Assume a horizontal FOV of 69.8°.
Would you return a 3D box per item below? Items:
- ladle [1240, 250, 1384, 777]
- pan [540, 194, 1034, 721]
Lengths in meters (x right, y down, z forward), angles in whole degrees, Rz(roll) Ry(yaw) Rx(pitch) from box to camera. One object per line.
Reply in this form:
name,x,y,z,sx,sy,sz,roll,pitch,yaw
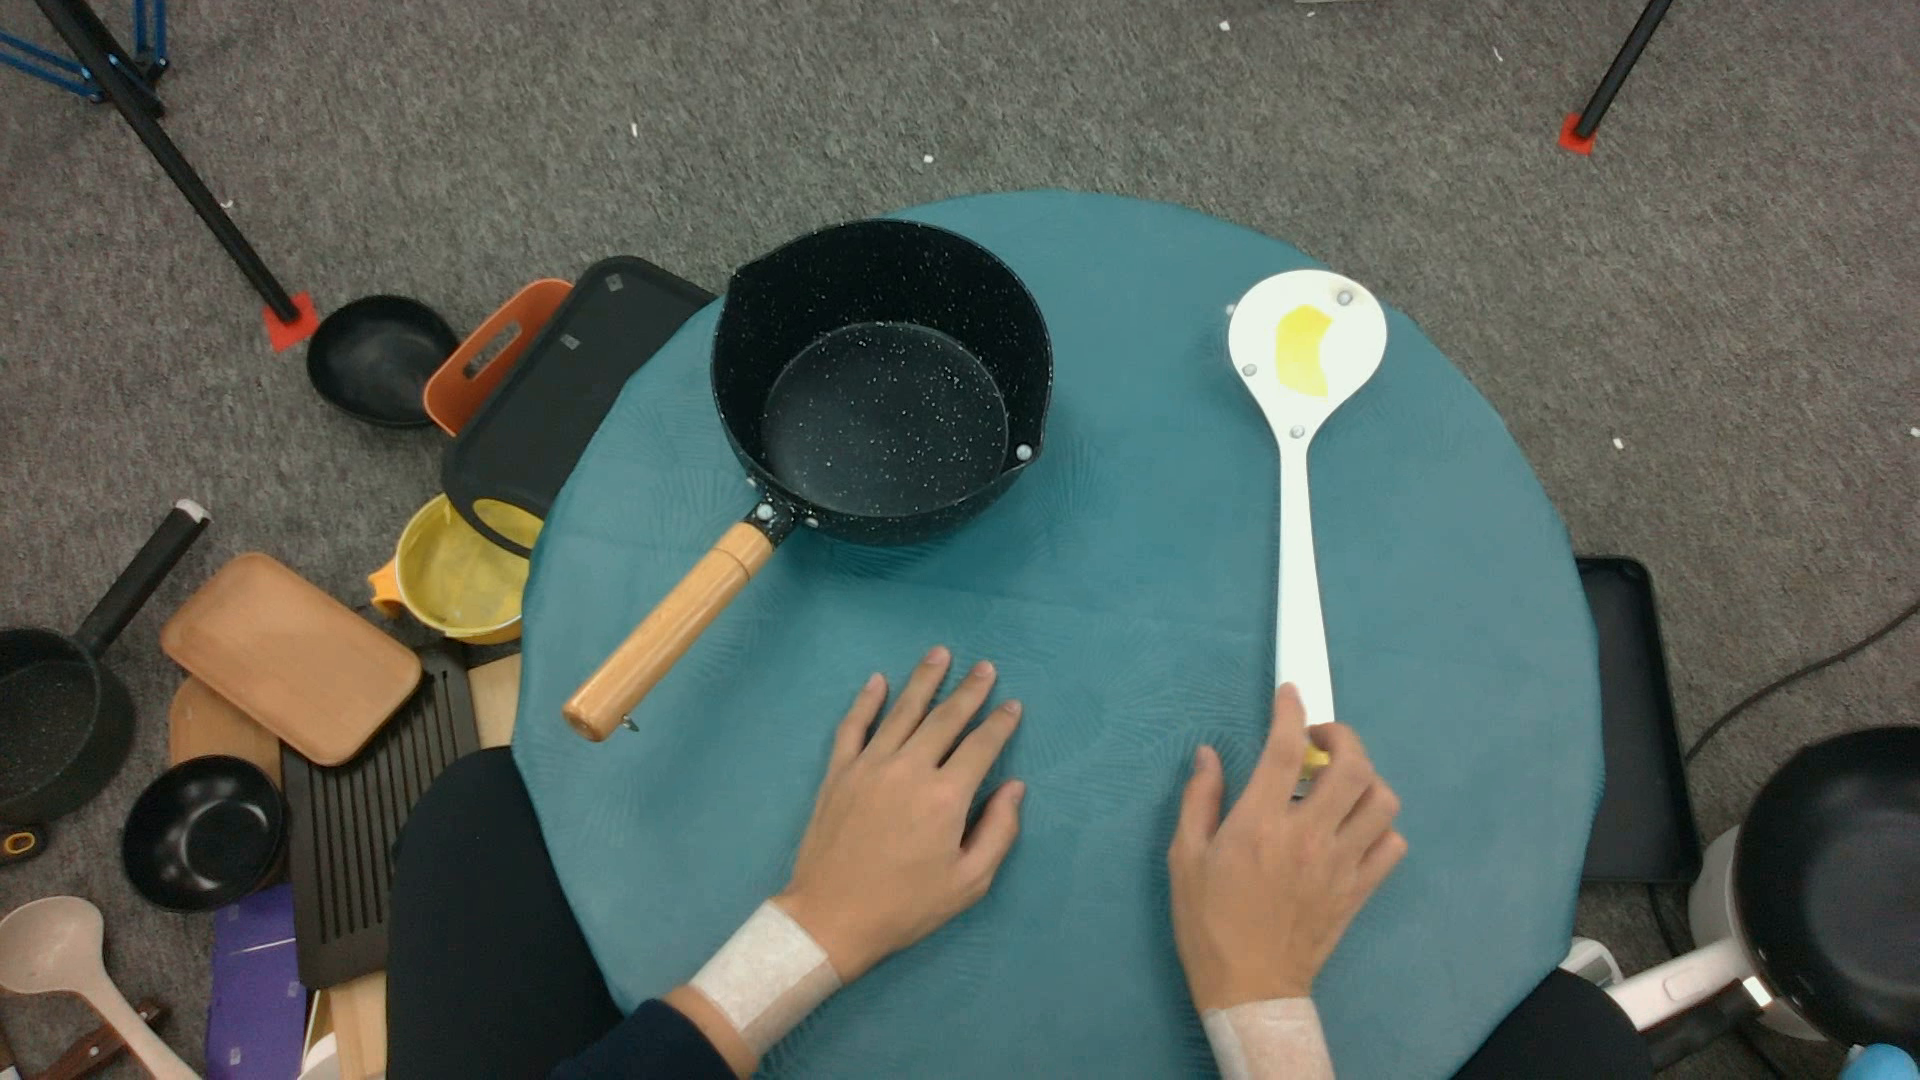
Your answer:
ladle,0.193,-0.019,0.768,0.090,0.069,0.294,11,68,-13
pan,-0.095,-0.034,0.734,0.207,0.108,0.344,30,68,8
